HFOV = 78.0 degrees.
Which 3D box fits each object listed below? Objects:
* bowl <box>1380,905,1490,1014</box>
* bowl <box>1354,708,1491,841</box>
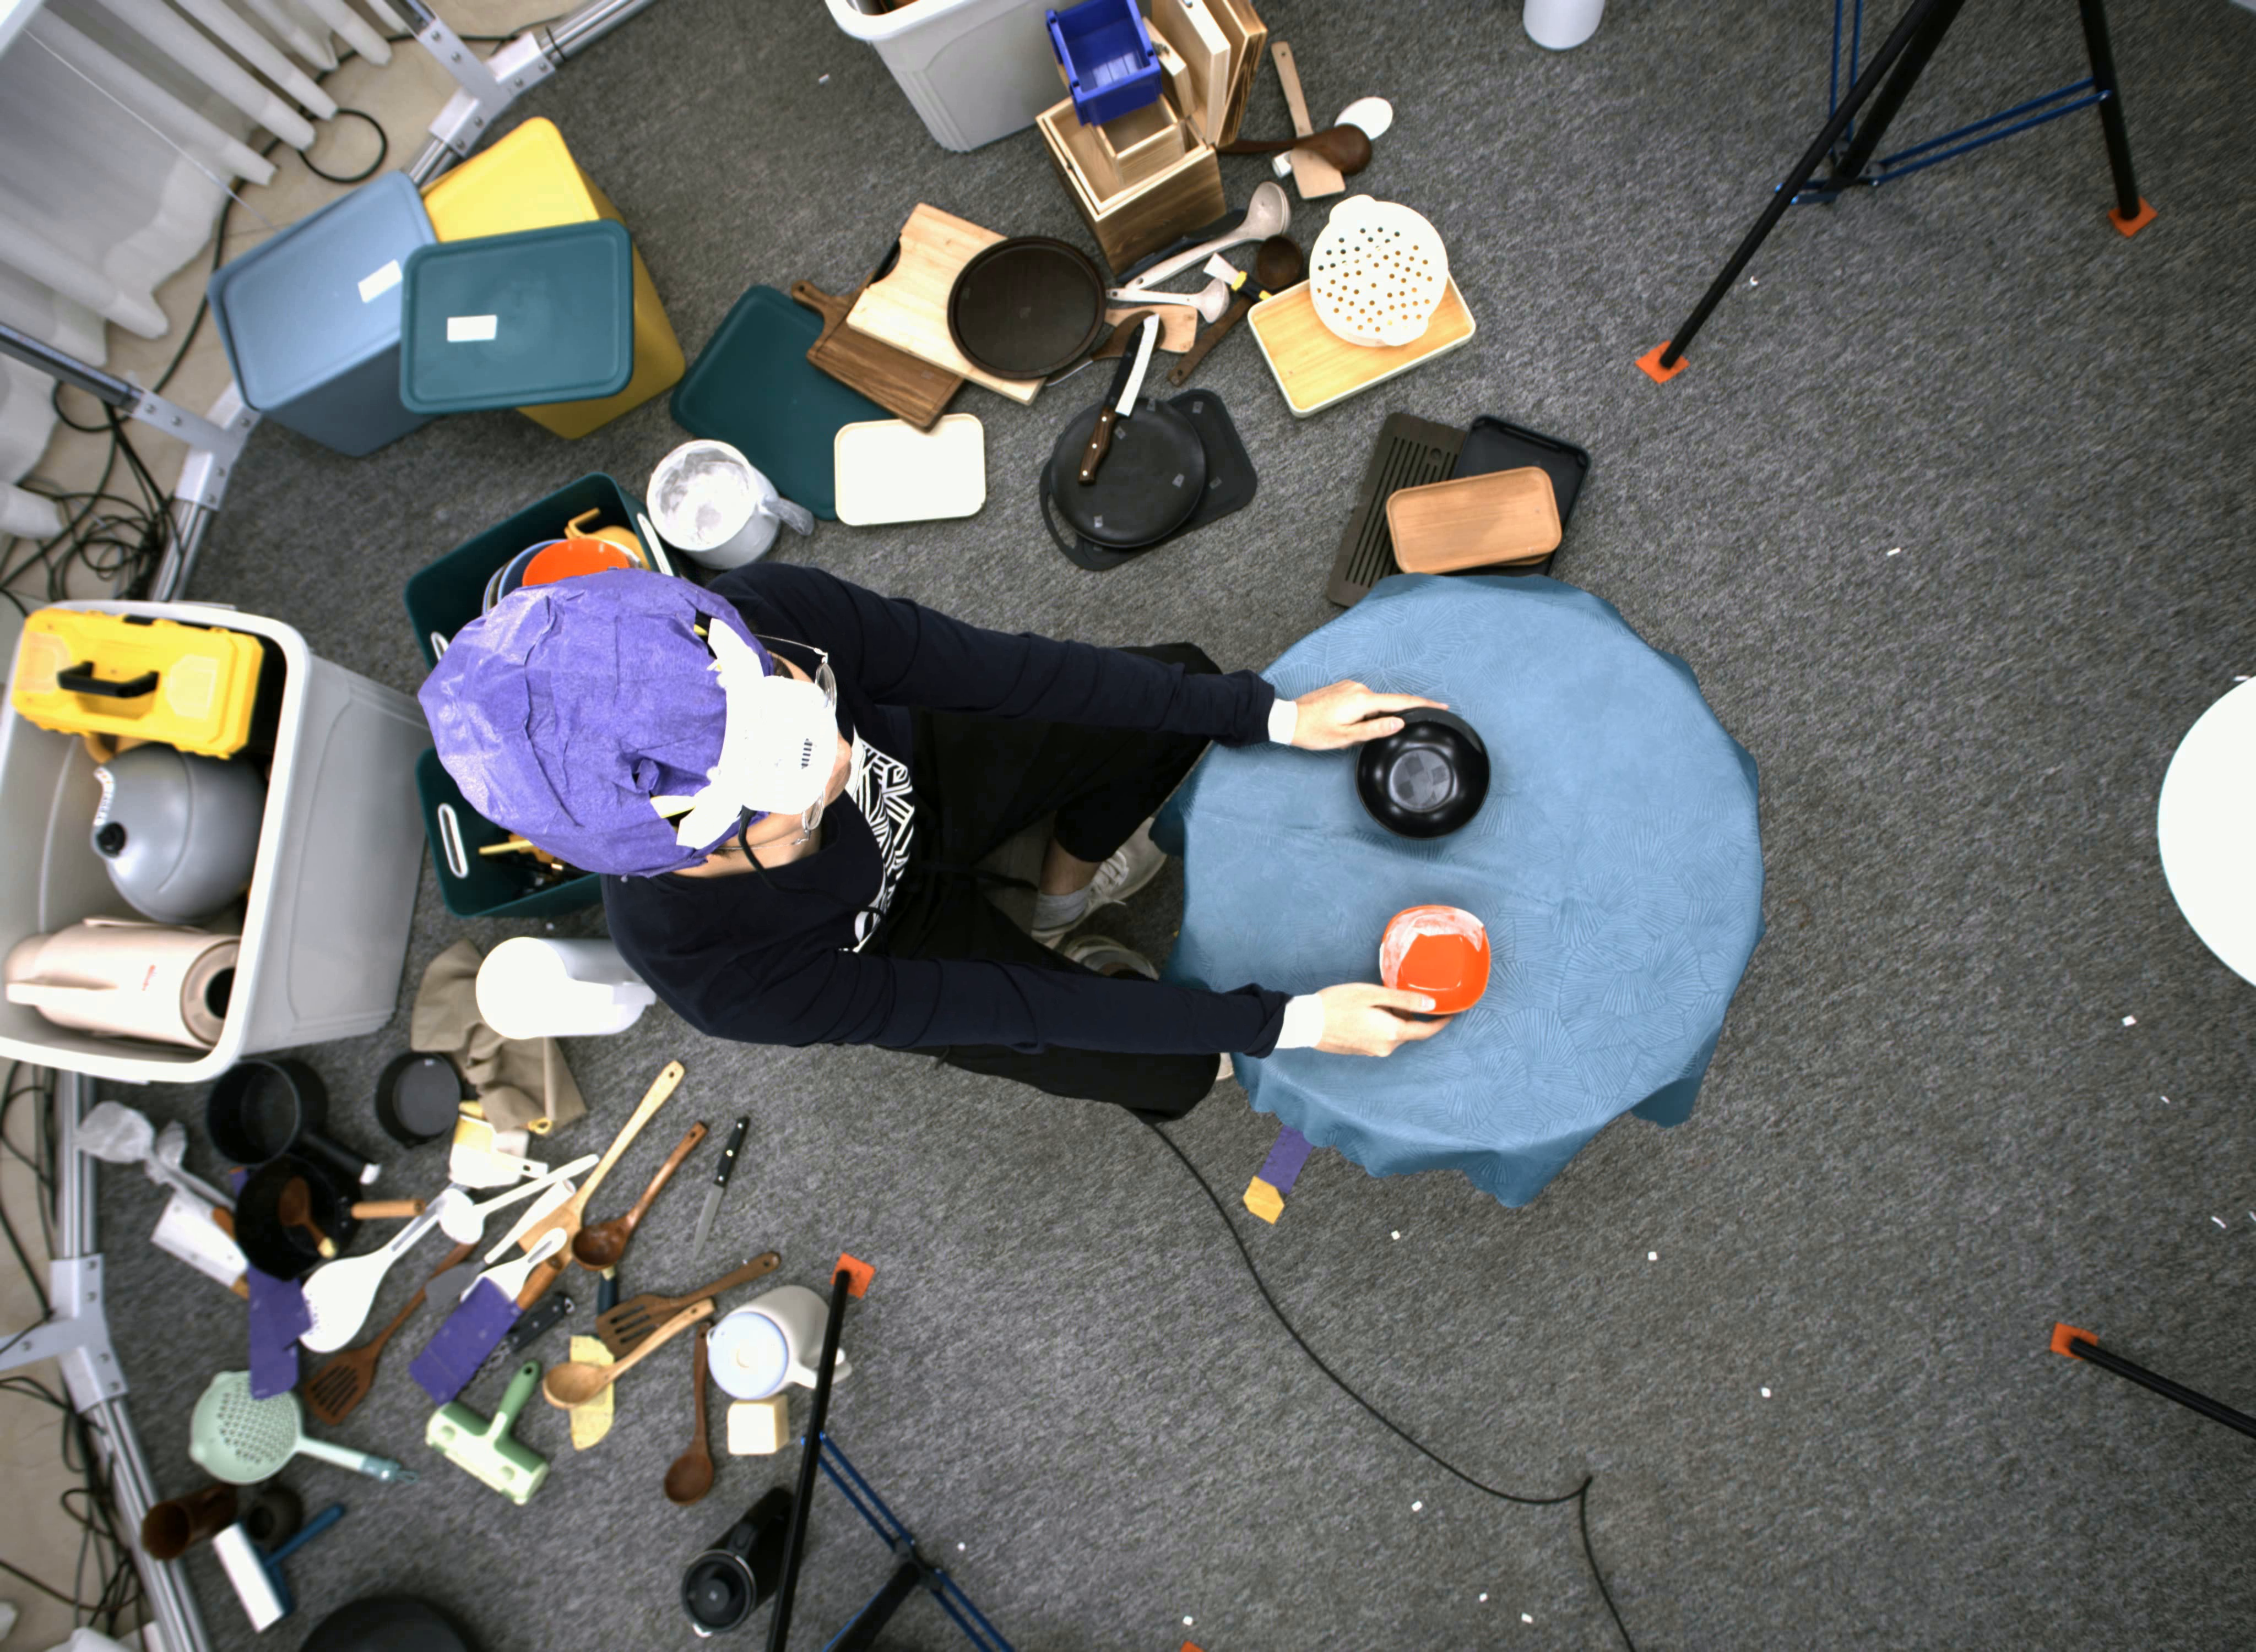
[{"bbox_3d":[0.314,0.135,1.421,0.119,0.051,0.118,-1,87,9],"label":"bowl"},{"bbox_3d":[0.308,-0.053,1.438,0.141,0.050,0.139,-1,86,14],"label":"bowl"}]
